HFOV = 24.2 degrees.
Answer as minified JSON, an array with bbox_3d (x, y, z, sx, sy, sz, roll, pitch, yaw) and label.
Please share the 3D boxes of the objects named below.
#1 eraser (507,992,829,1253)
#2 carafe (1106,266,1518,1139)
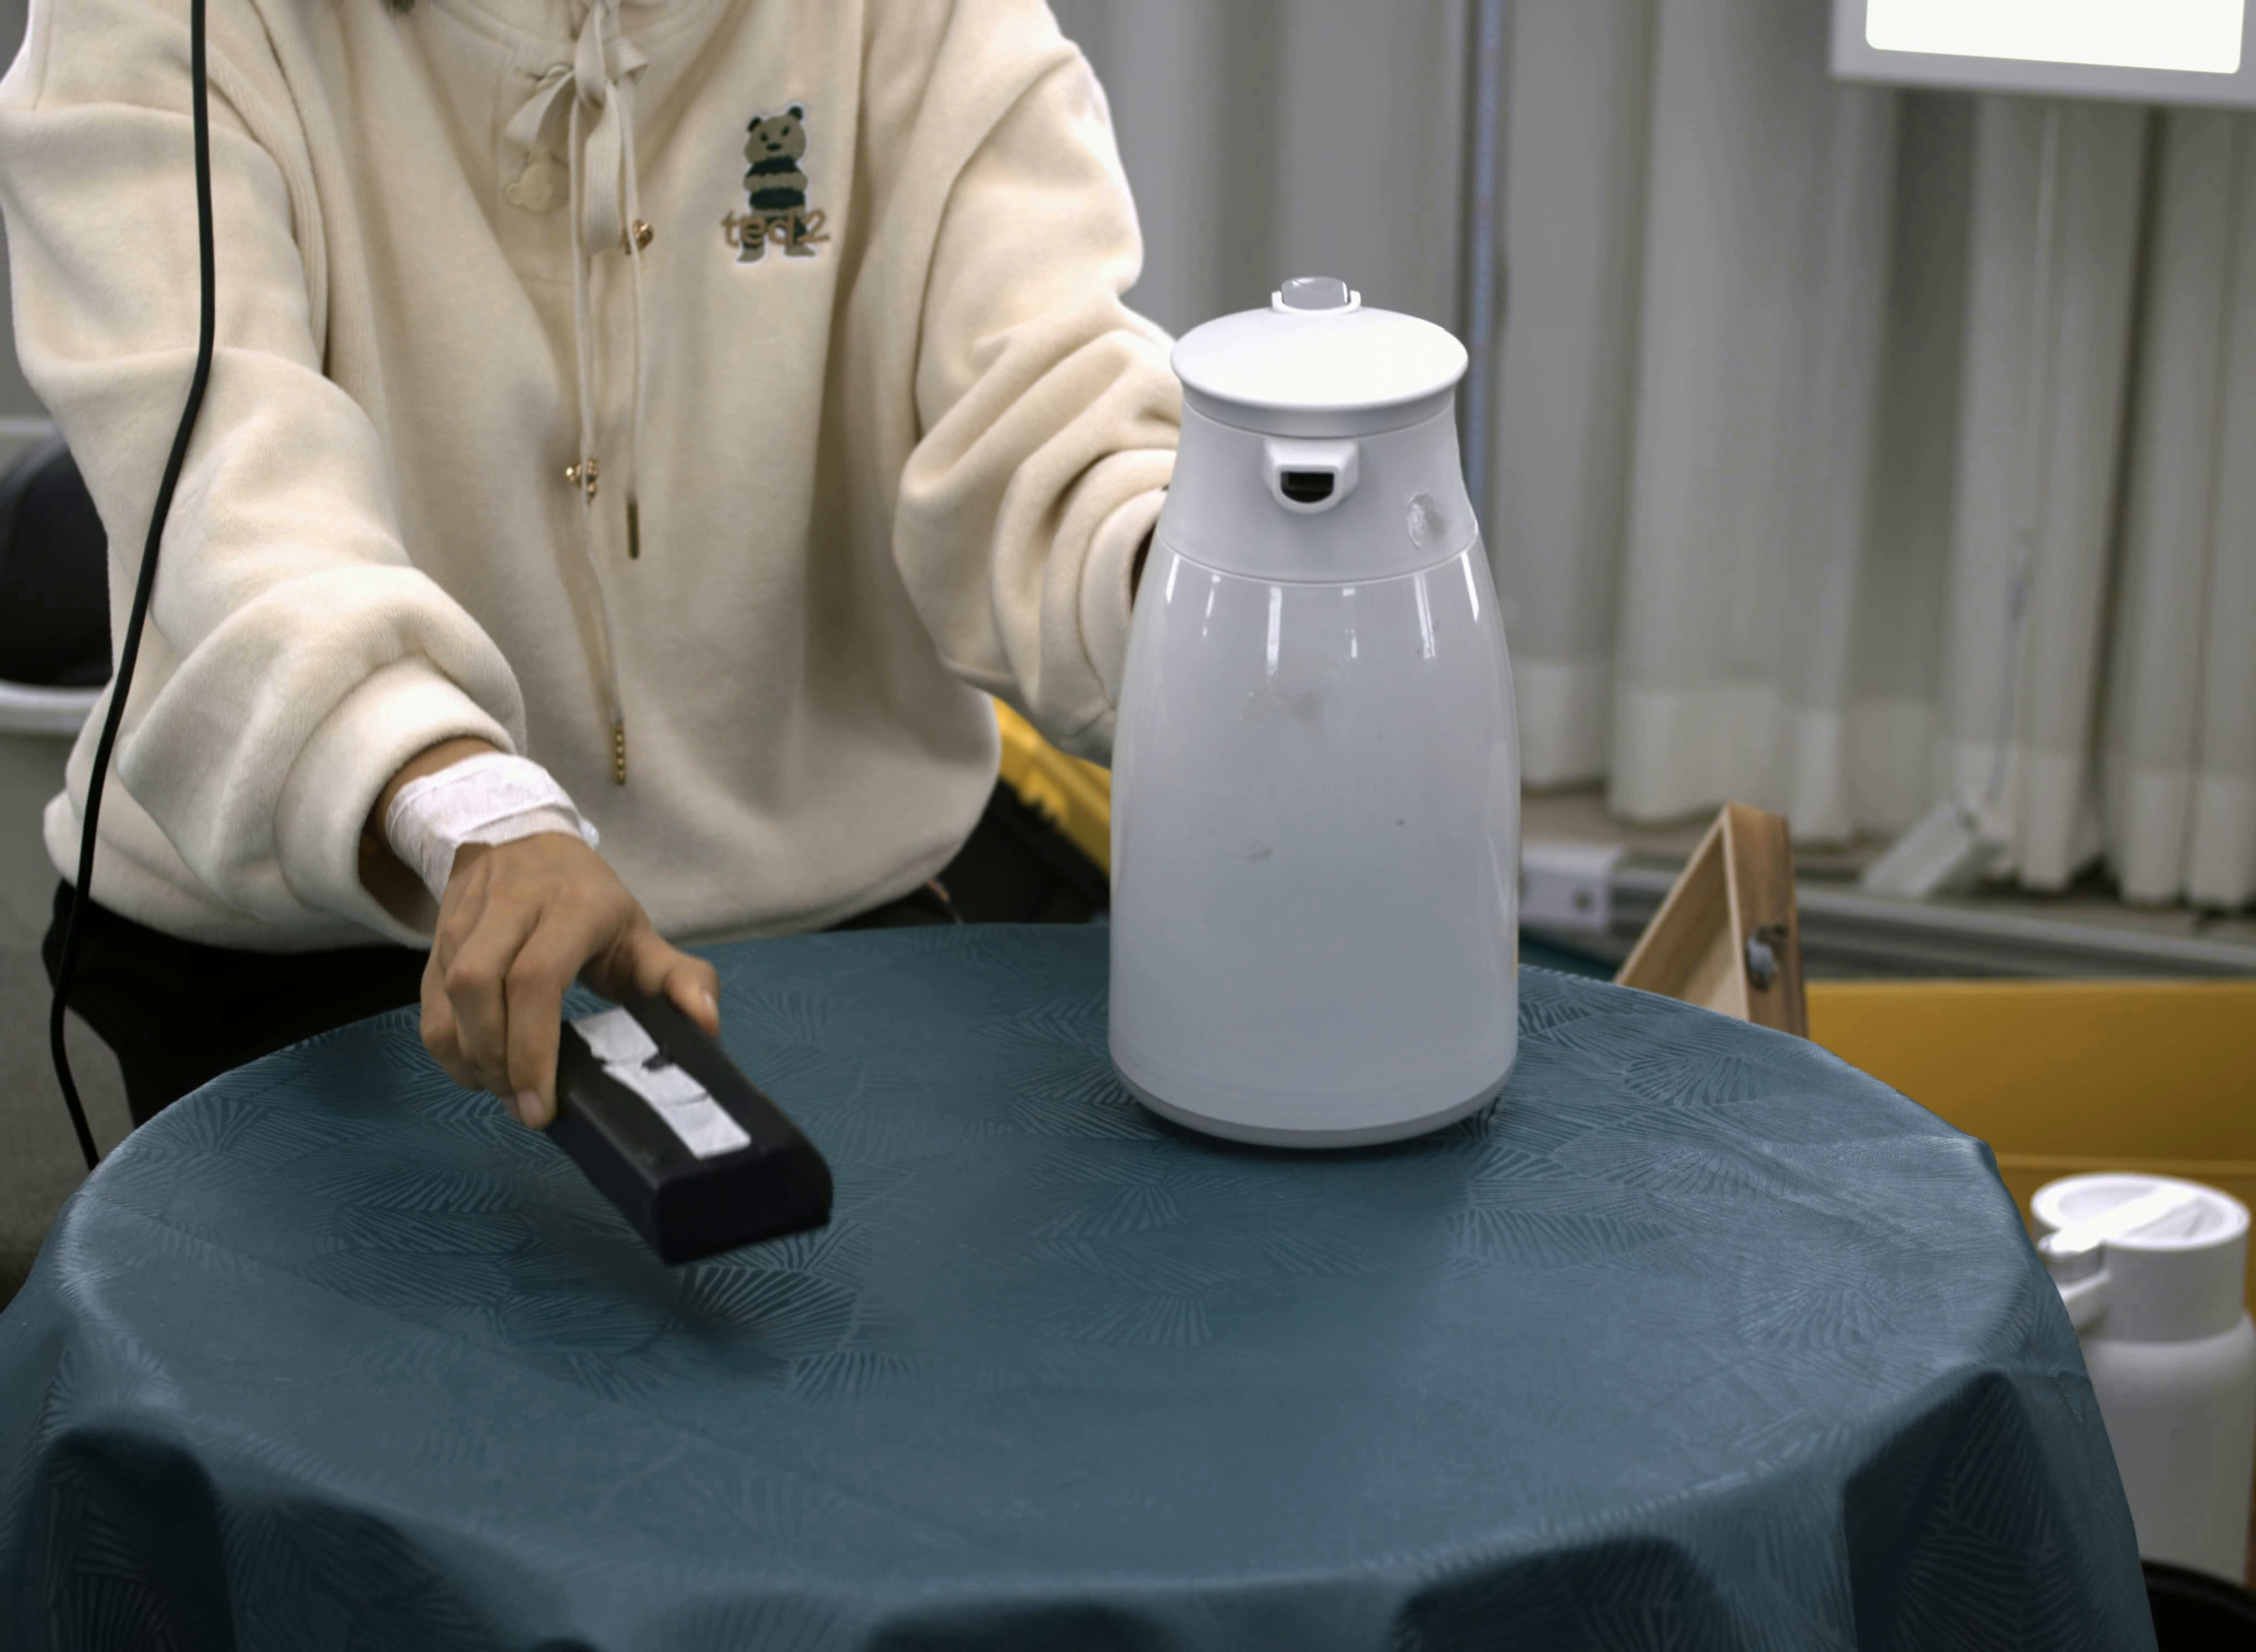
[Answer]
[{"bbox_3d":[-0.134,0.085,1.530,0.053,0.031,0.124,-15,24,-23],"label":"eraser"},{"bbox_3d":[0.059,-0.048,1.668,0.132,0.251,0.166,1,24,3],"label":"carafe"}]
